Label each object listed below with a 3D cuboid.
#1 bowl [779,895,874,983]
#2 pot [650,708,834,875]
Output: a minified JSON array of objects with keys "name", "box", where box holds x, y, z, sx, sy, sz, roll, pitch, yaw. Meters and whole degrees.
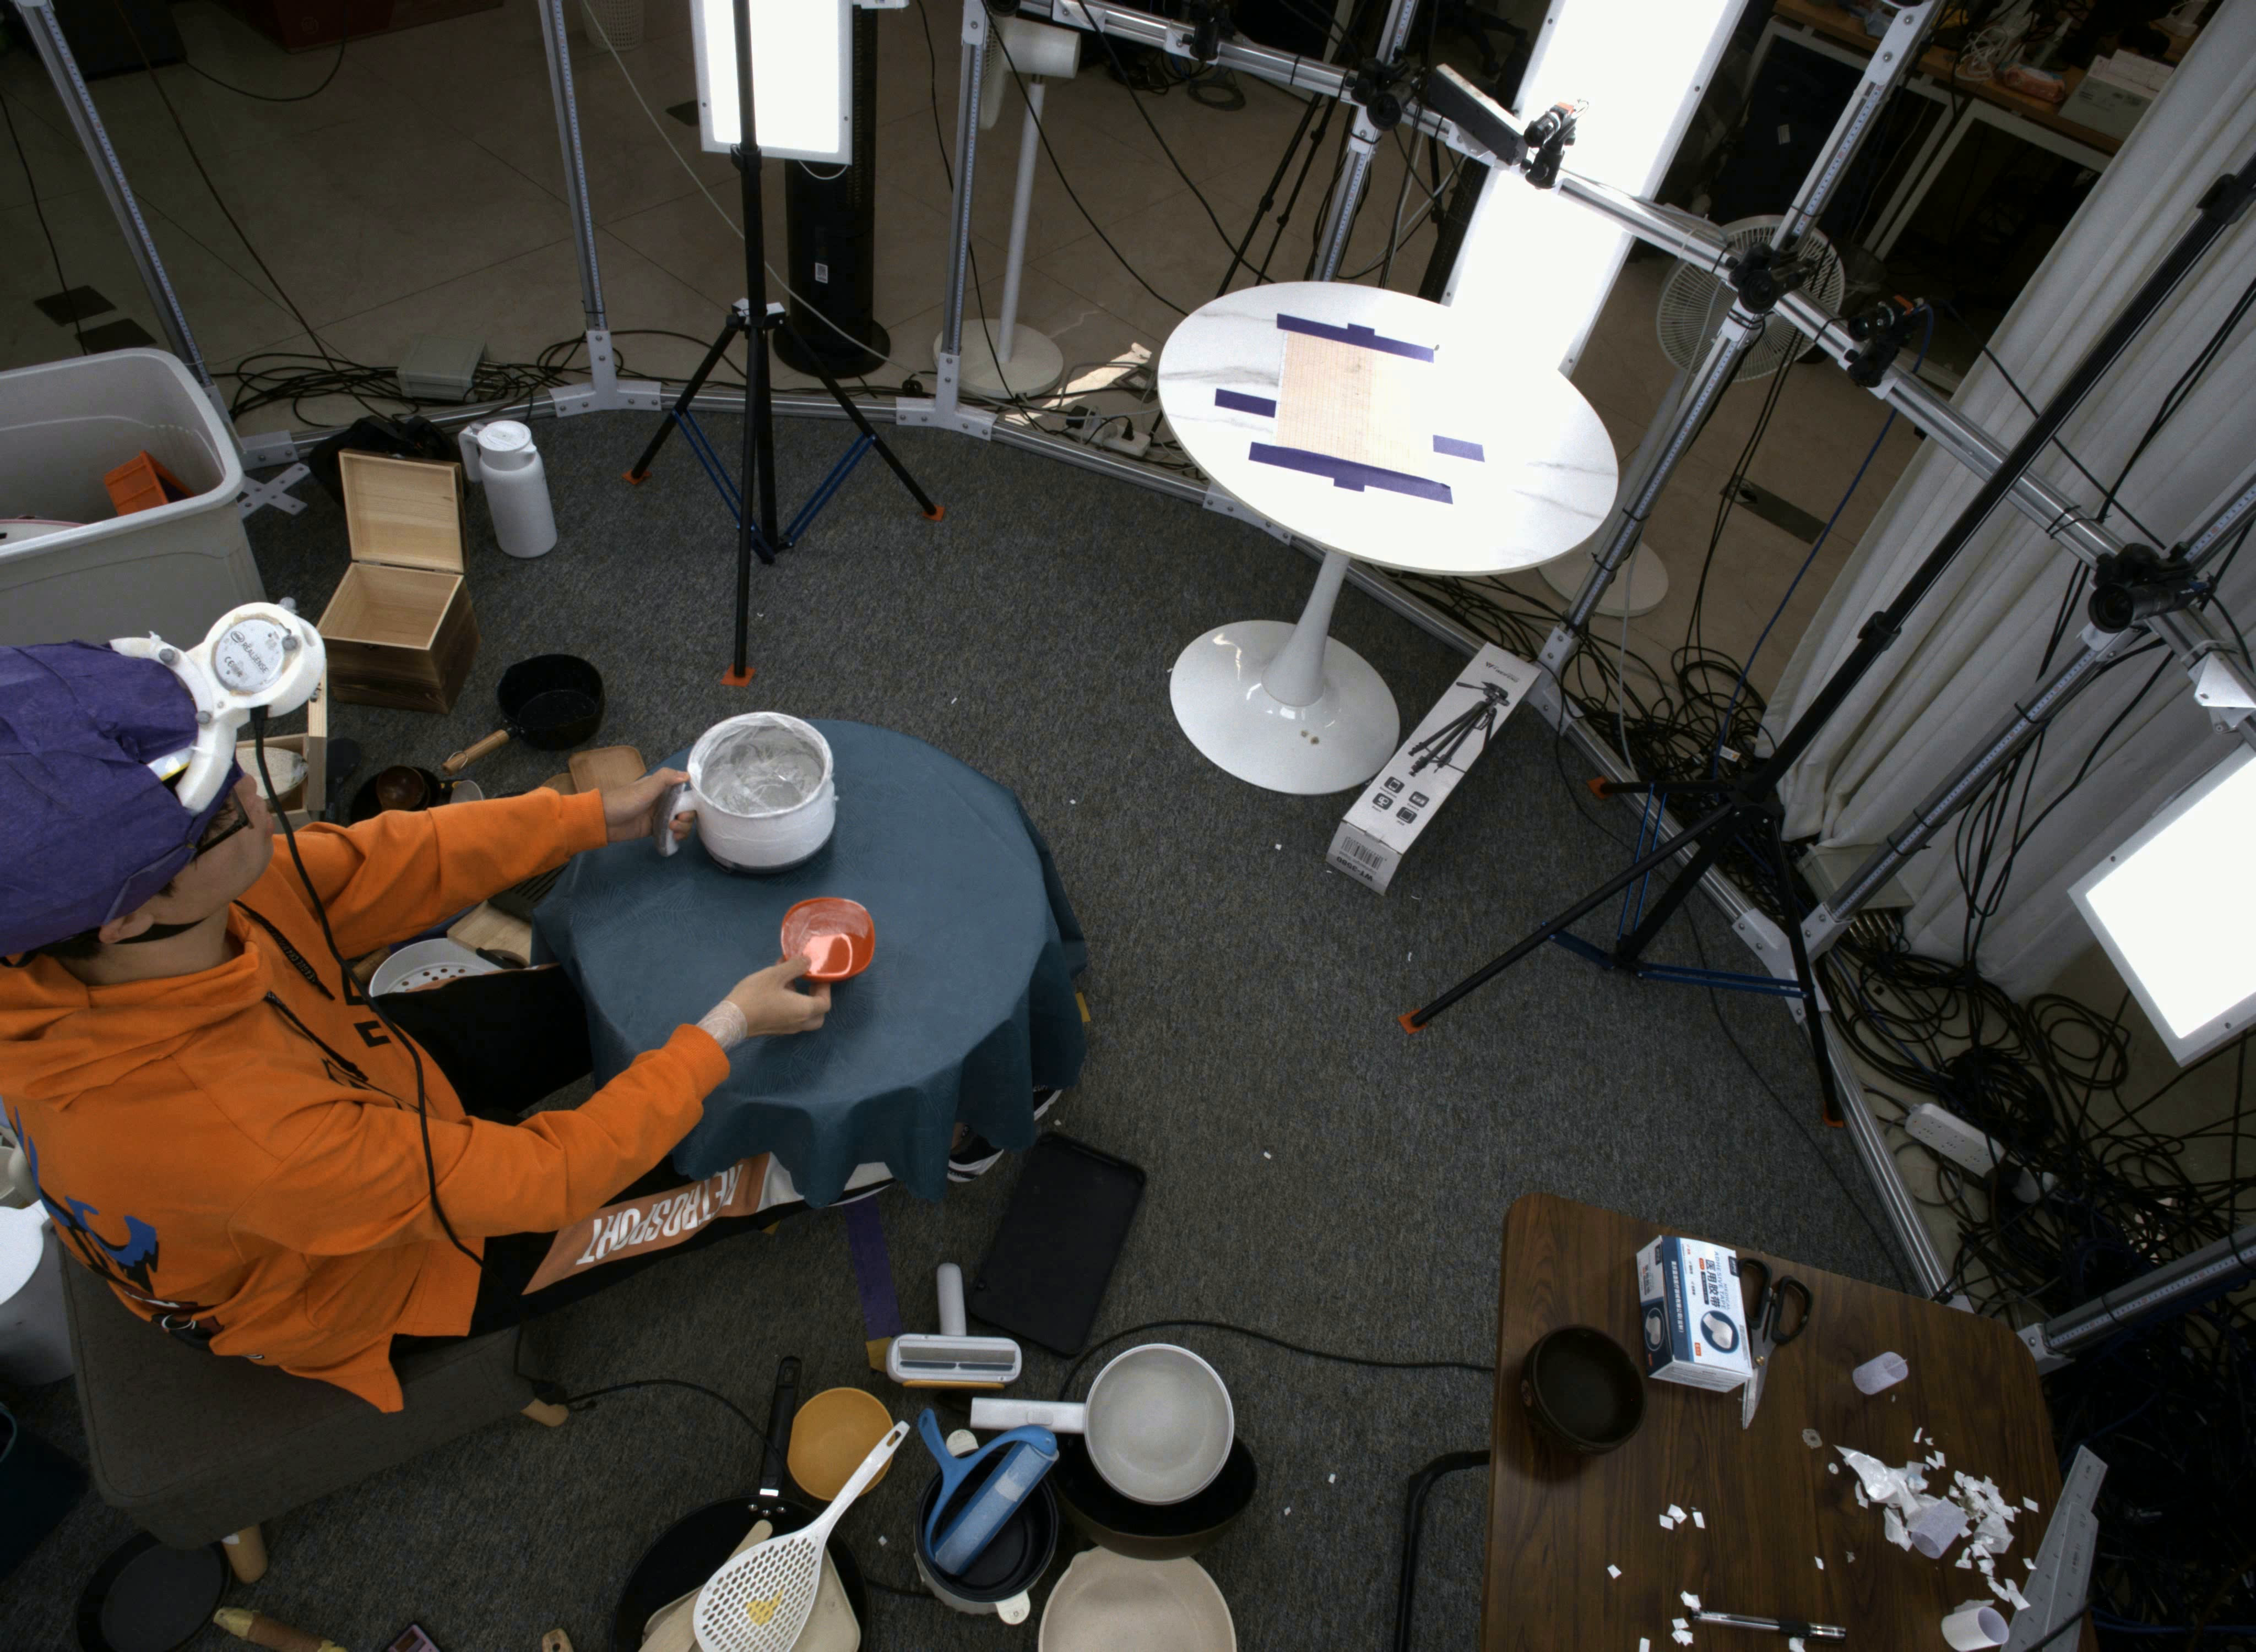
[{"name":"bowl","box":[-0.359,0.141,1.540,0.119,0.052,0.117,10,55,-13]},{"name":"pot","box":[-0.488,-0.032,1.626,0.235,0.140,0.173,-19,56,-24]}]
